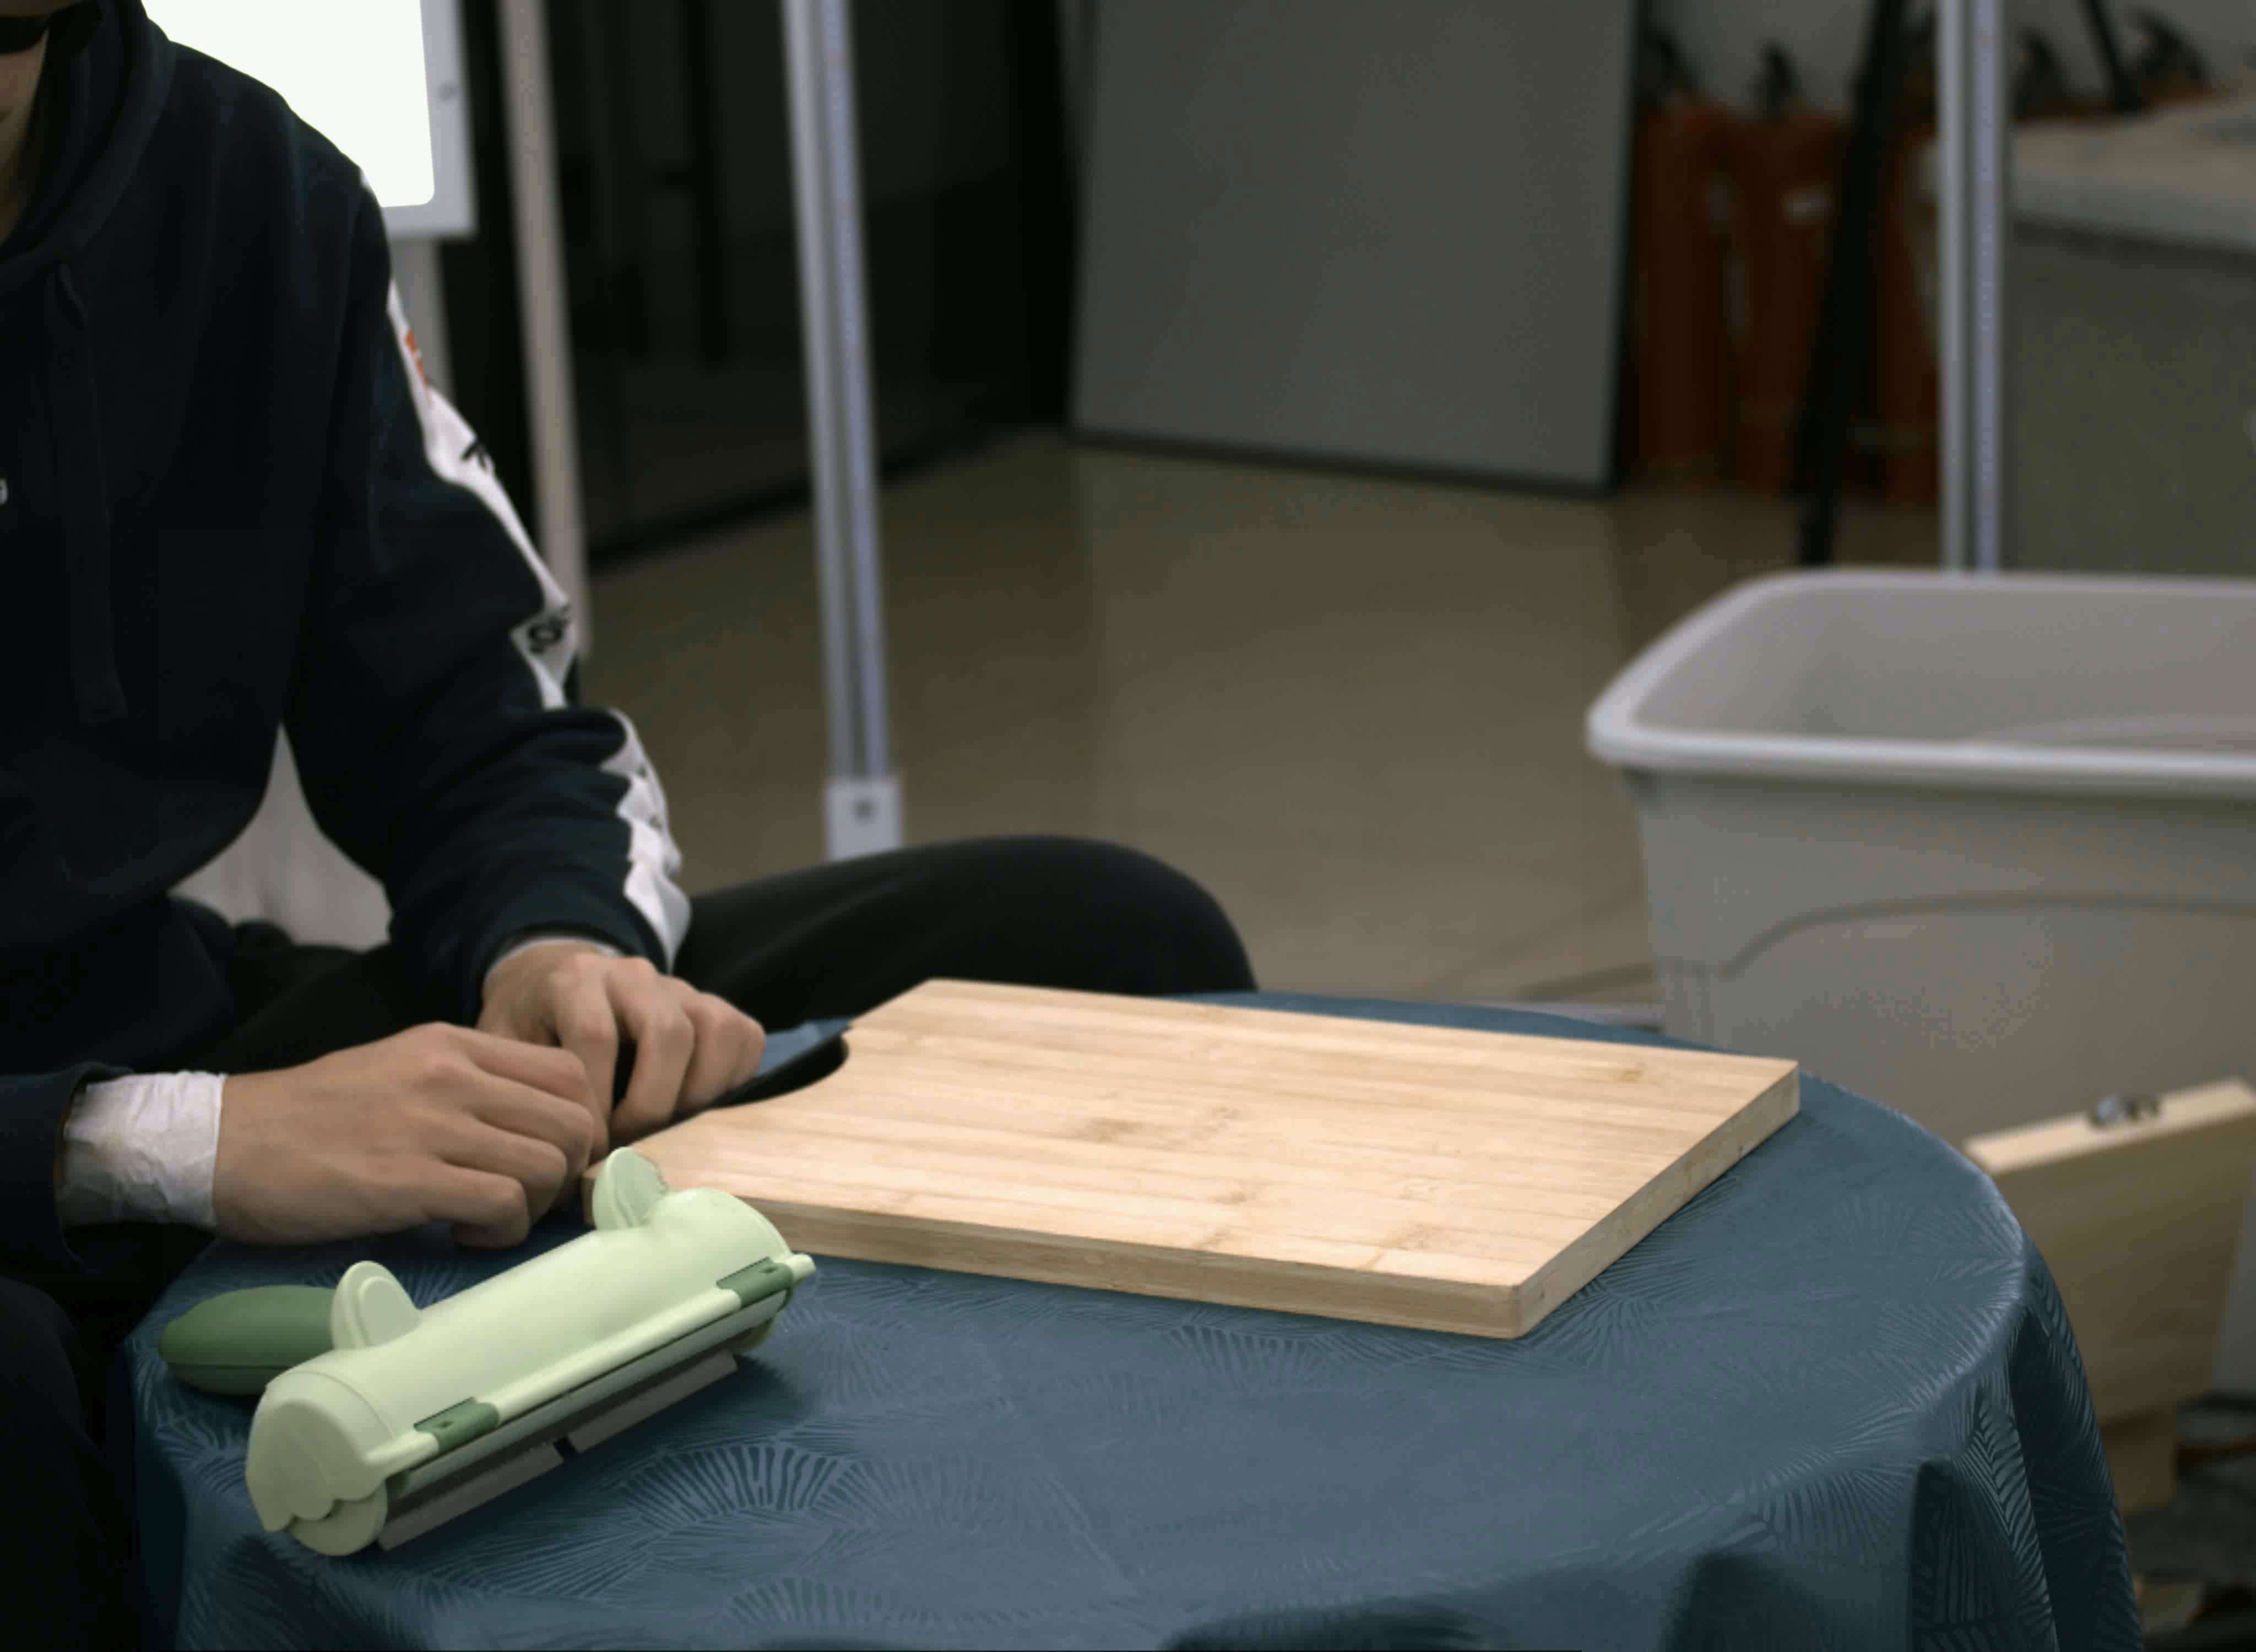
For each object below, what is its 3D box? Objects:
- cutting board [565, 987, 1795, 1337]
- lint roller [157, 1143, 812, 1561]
[{"bbox_3d":[0.020,0.107,1.791,0.350,0.024,0.247,4,16,28],"label":"cutting board"},{"bbox_3d":[-0.219,0.141,1.595,0.184,0.083,0.195,11,20,34],"label":"lint roller"}]
